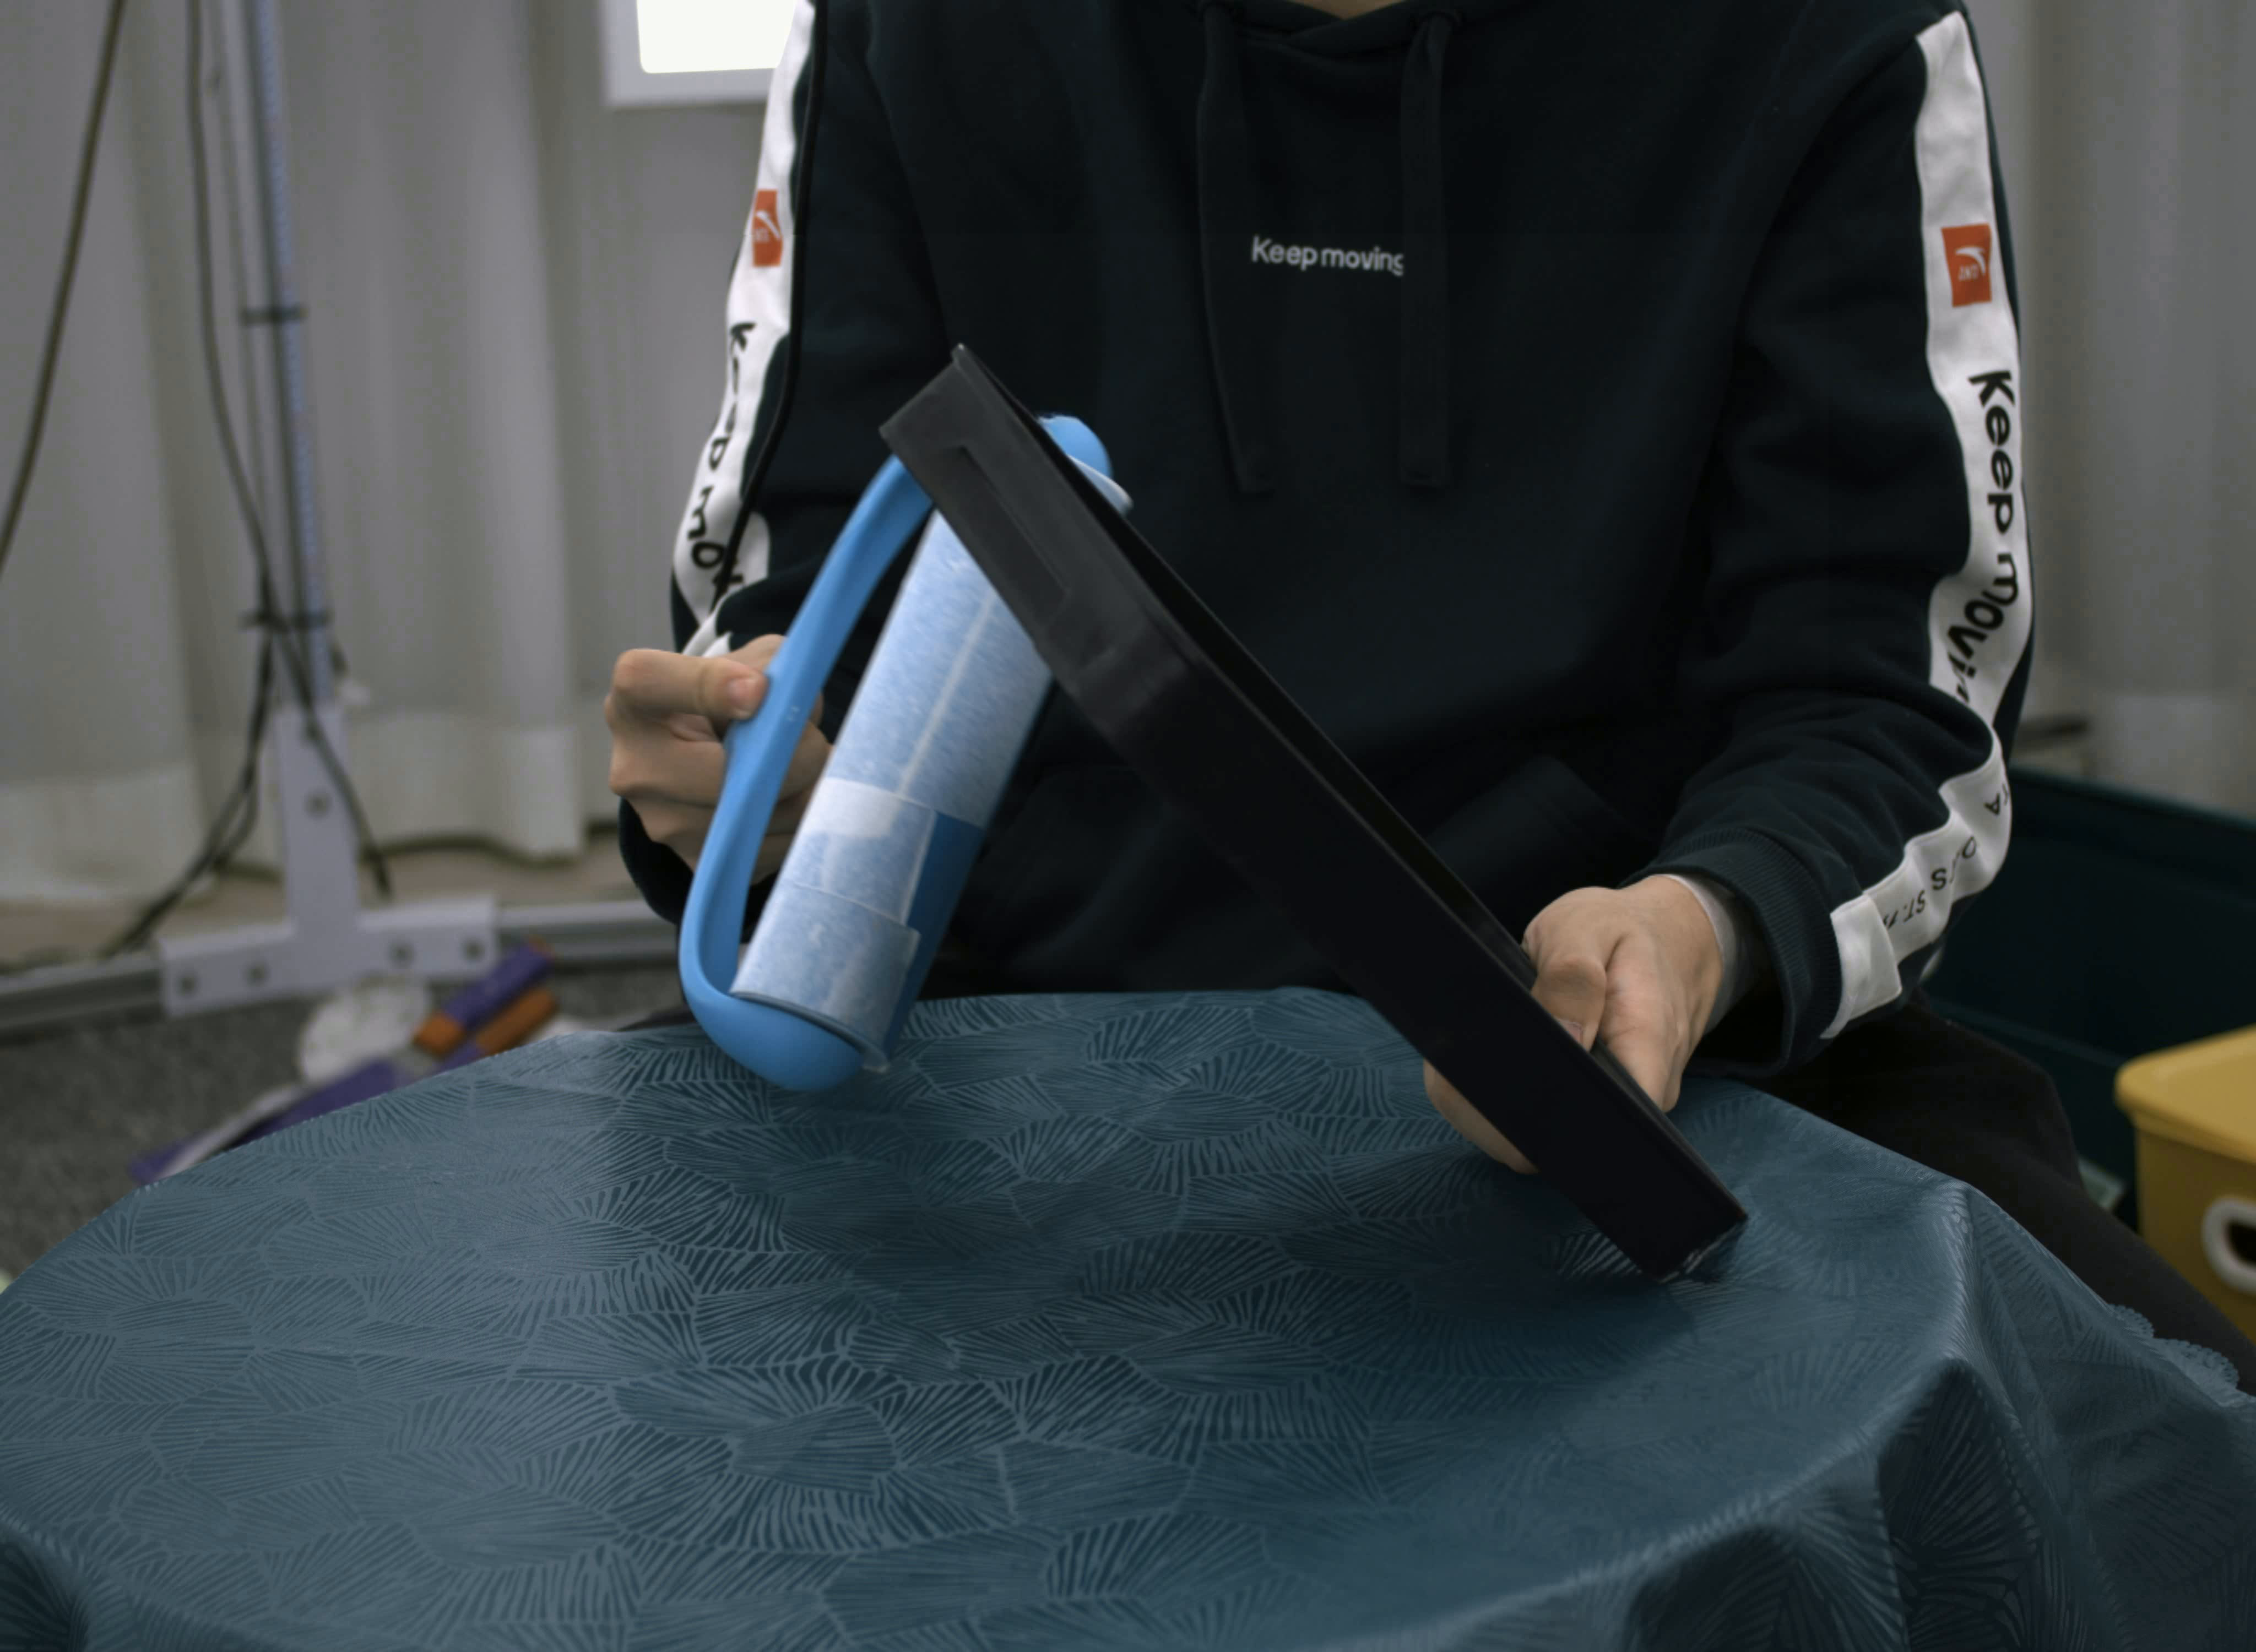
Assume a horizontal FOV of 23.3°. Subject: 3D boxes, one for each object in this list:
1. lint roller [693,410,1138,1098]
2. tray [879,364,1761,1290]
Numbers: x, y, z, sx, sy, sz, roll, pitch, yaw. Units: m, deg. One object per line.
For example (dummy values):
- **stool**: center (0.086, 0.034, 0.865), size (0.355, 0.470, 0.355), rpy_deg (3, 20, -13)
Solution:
- **lint roller**: center (-0.089, -0.020, 1.722), size (0.067, 0.231, 0.180), rpy_deg (30, -19, -27)
- **tray**: center (0.057, 0.004, 1.576), size (0.037, 0.314, 0.187), rpy_deg (-43, 40, 5)
